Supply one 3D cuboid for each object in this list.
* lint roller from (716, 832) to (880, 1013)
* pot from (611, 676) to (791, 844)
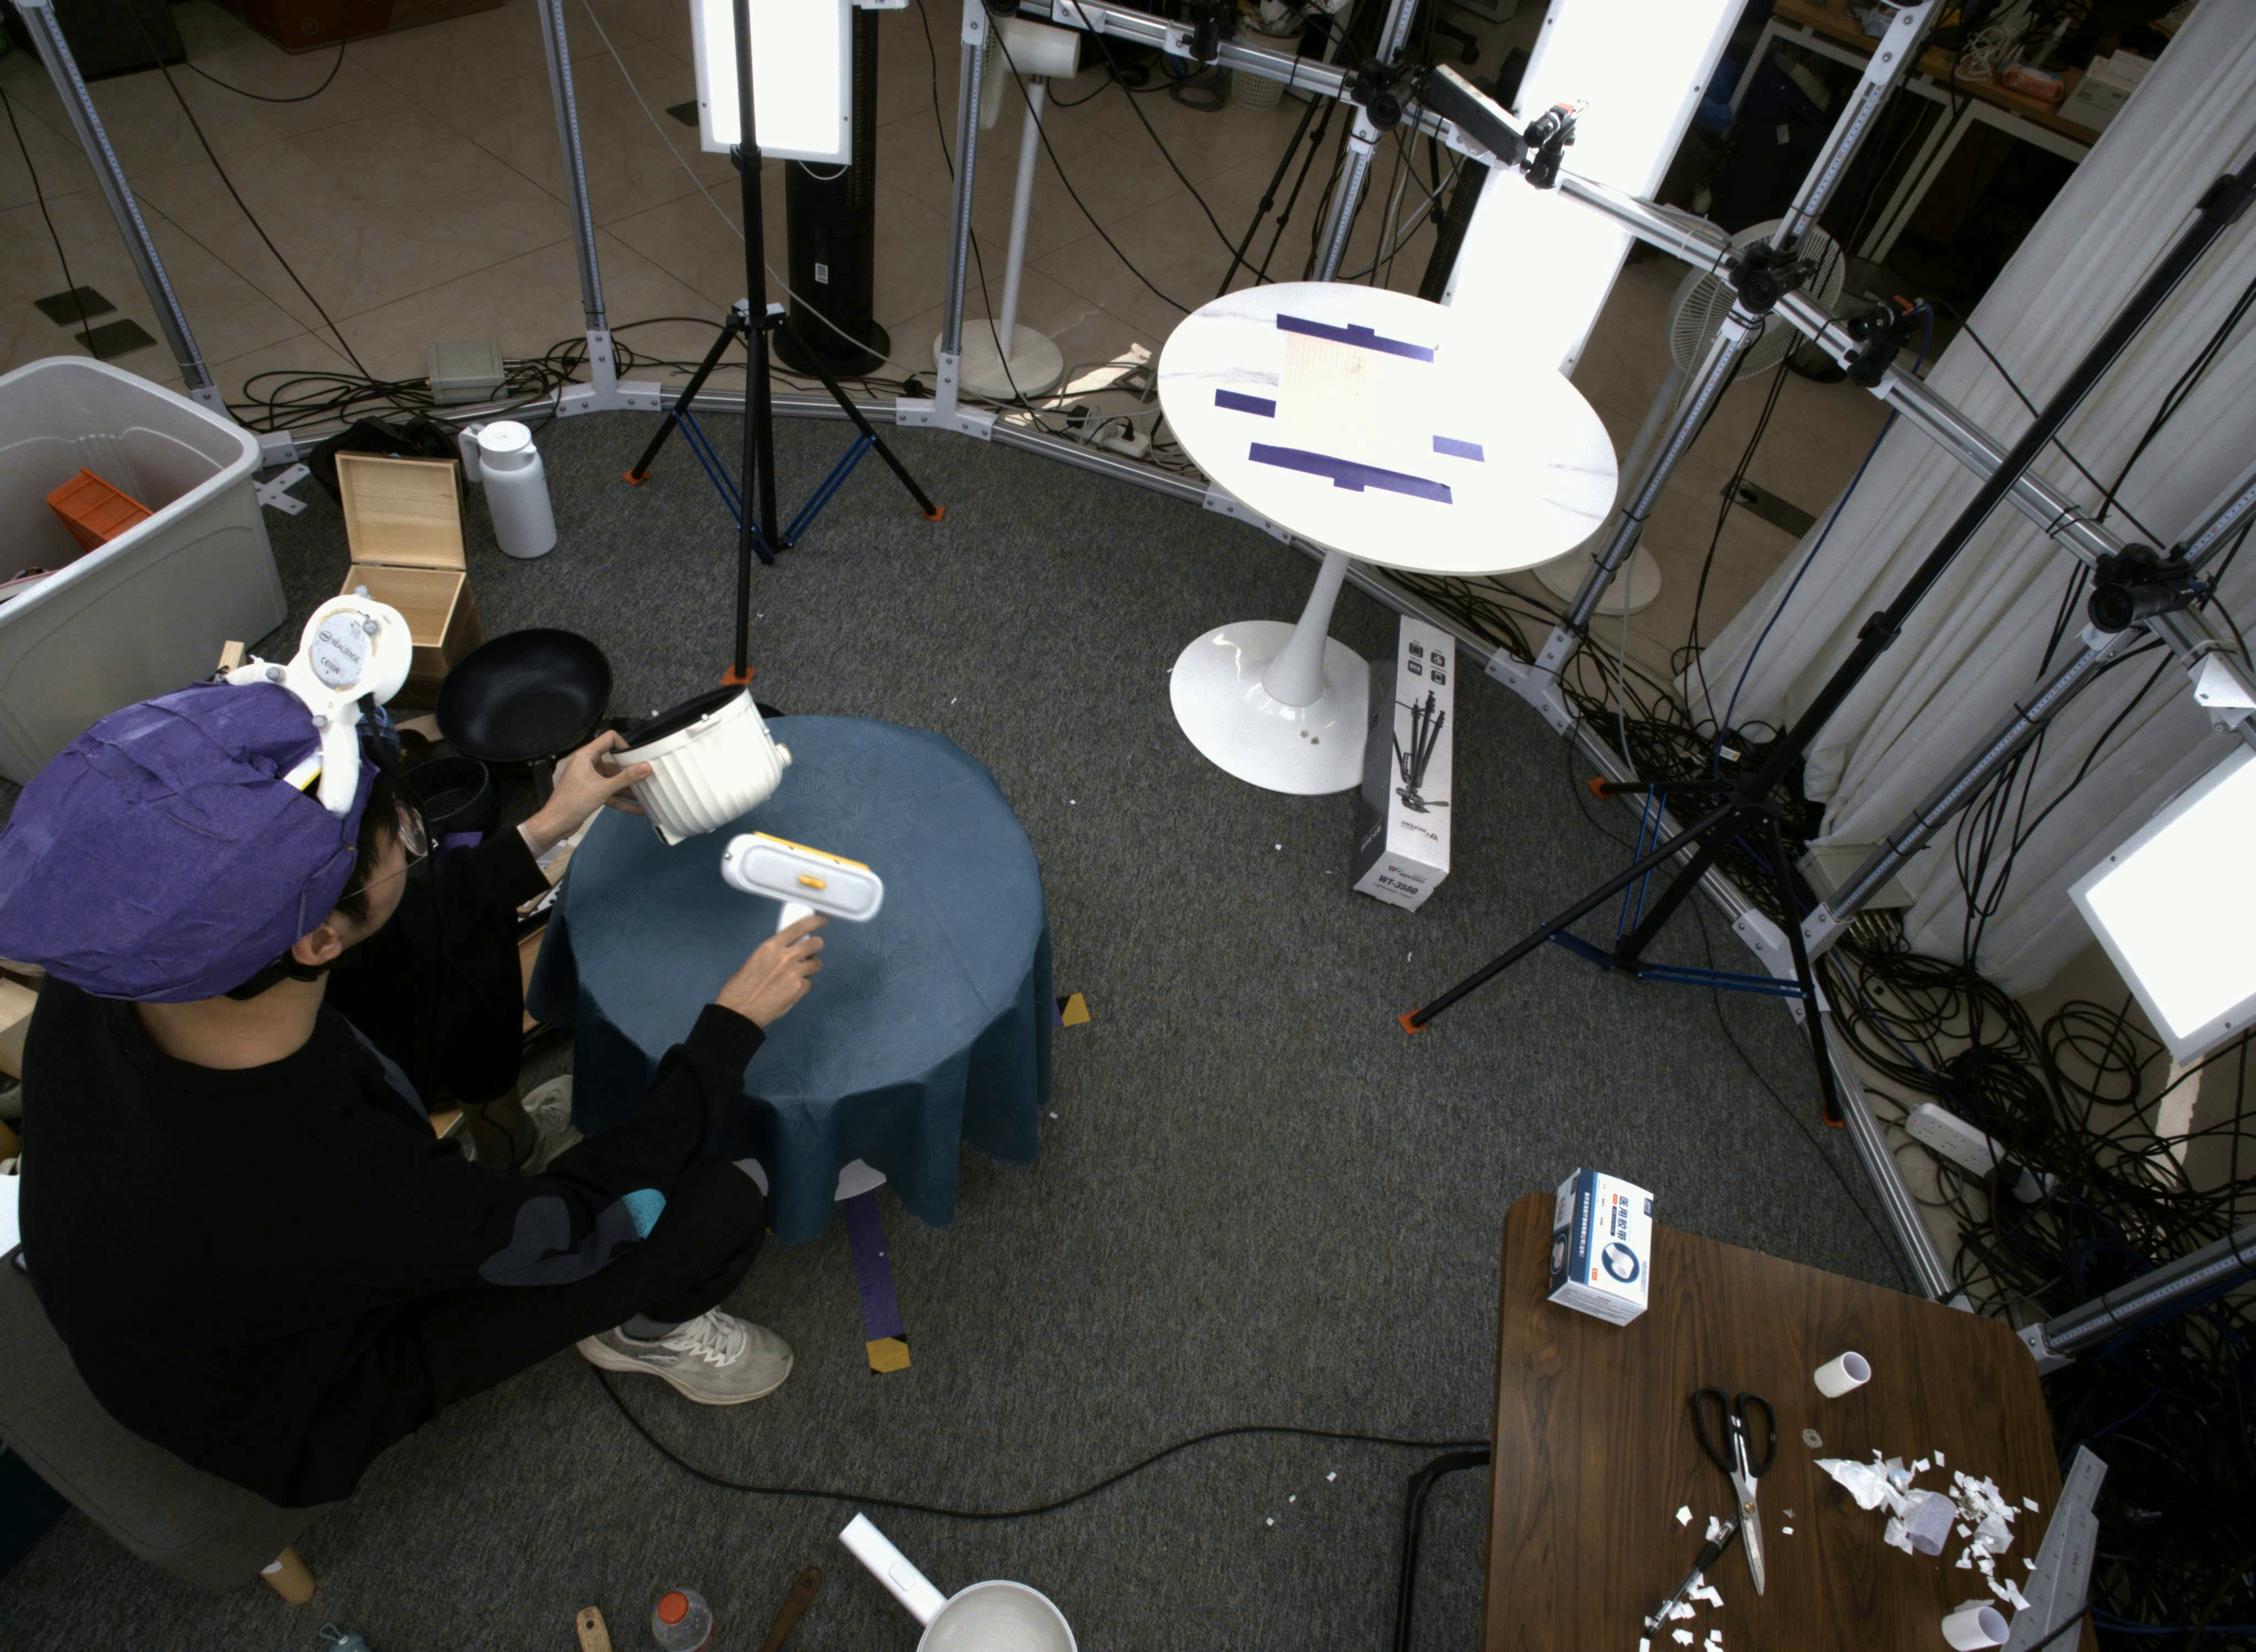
[{"bbox_3d":[-0.387,0.117,1.499,0.198,0.072,0.193,18,76,-35],"label":"lint roller"},{"bbox_3d":[-0.523,-0.084,1.592,0.190,0.147,0.232,-39,27,-27],"label":"pot"}]
